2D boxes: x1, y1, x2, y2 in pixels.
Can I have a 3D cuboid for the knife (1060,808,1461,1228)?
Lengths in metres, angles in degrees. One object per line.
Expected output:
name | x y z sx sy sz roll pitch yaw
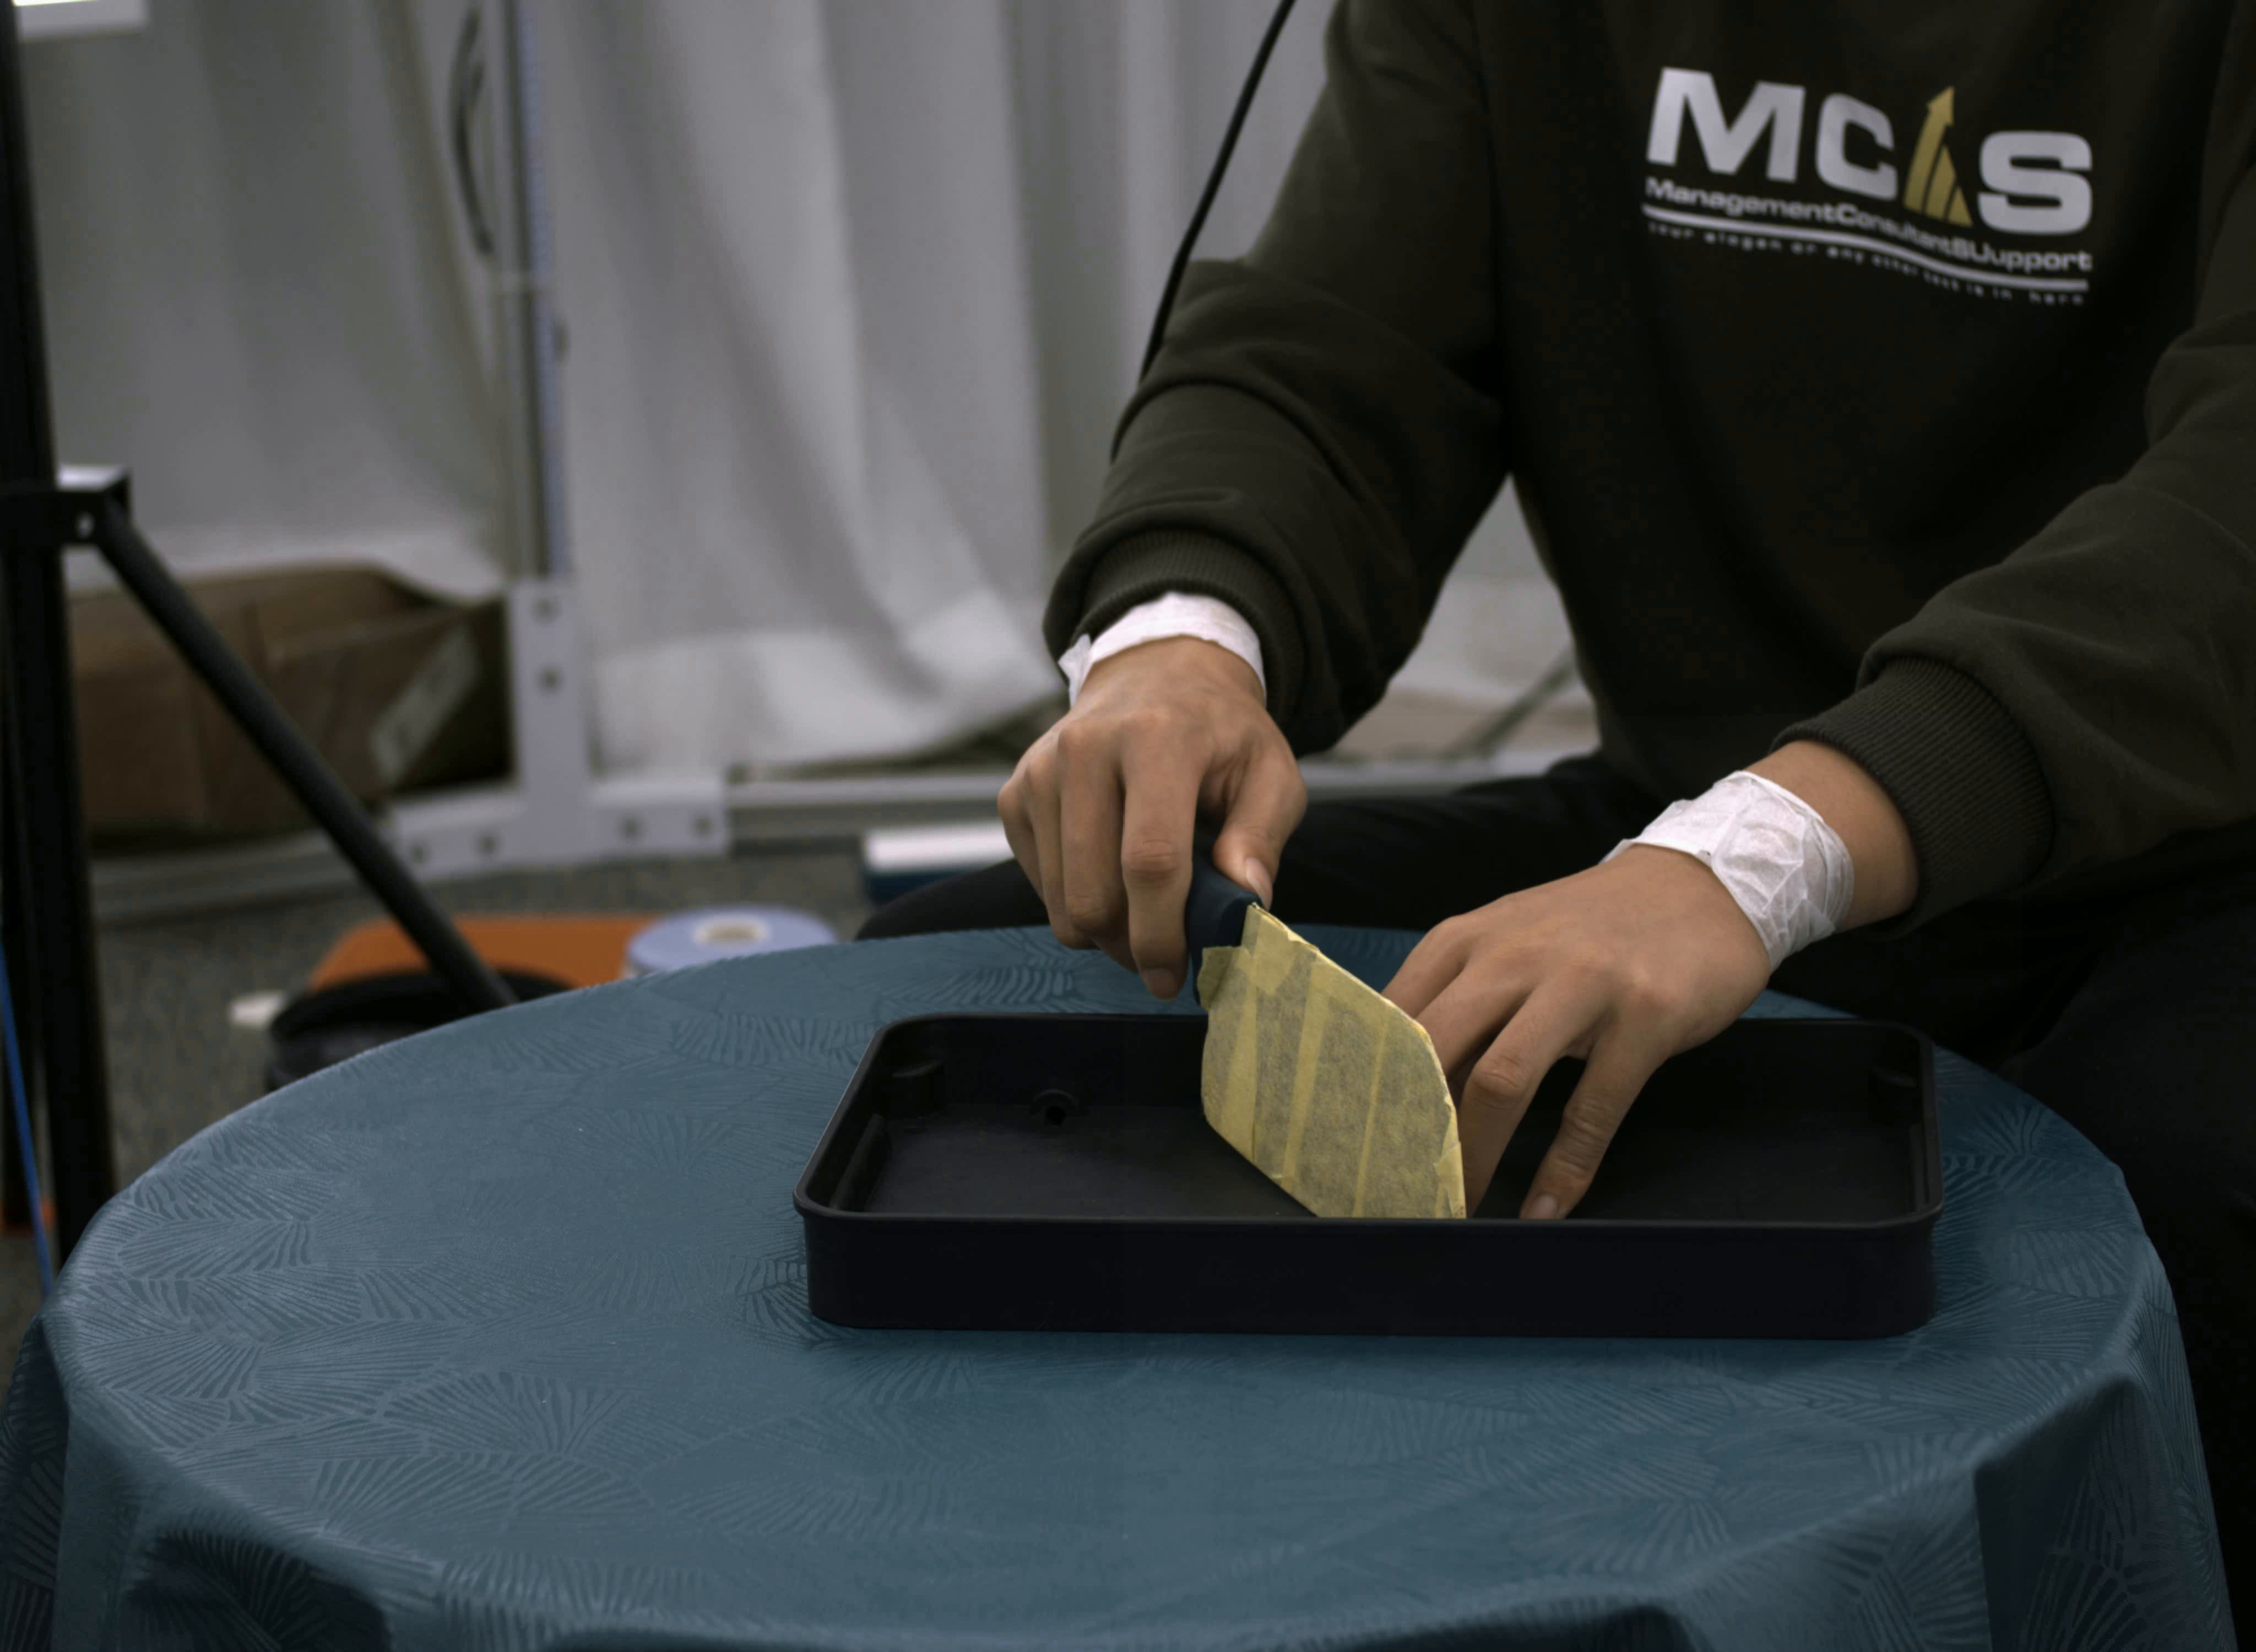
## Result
knife | 0.037 0.058 1.566 0.026 0.081 0.295 5 17 -24

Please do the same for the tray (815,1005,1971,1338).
tray | 0.078 0.097 1.520 0.318 0.037 0.184 0 16 7
